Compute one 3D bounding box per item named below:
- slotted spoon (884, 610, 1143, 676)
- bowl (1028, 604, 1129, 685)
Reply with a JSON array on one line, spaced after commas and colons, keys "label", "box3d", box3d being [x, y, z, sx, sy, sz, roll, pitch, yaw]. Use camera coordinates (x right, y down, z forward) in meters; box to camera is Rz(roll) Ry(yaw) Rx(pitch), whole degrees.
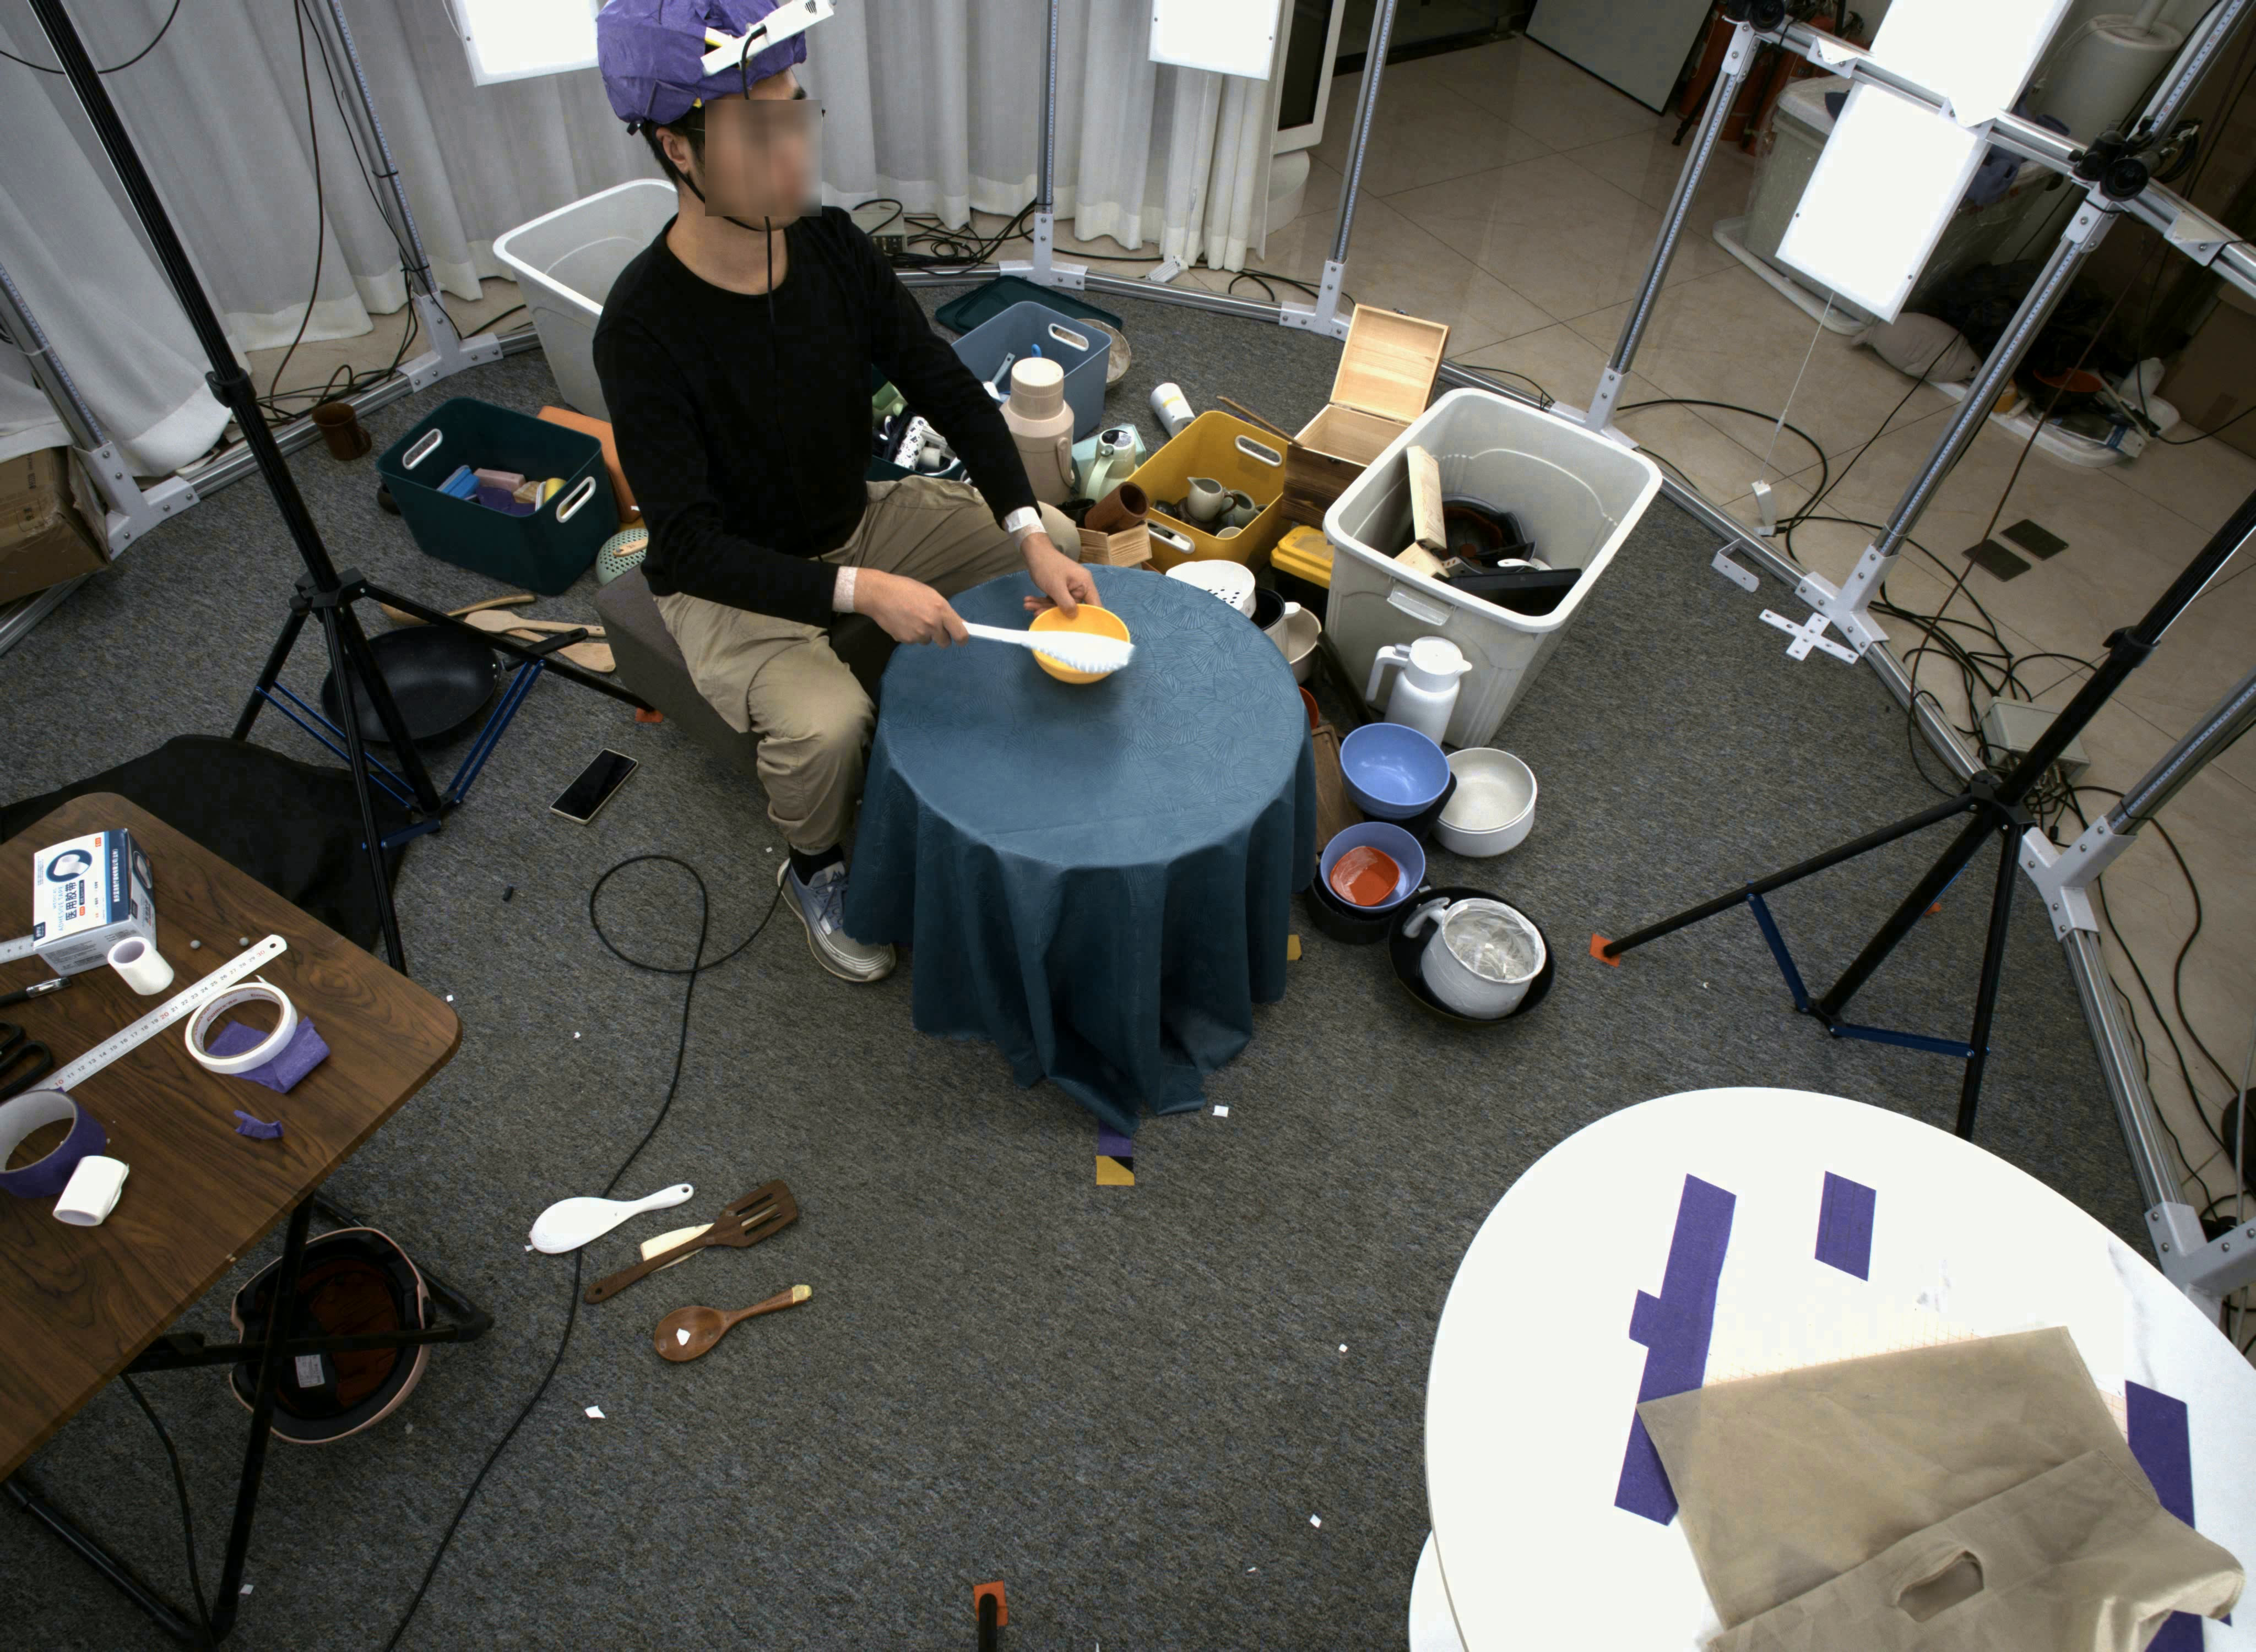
[{"label": "slotted spoon", "box3d": [-0.155, -0.254, 1.735, 0.350, 0.135, 0.046, 14, 88, 2]}, {"label": "bowl", "box3d": [-0.073, -0.249, 1.845, 0.145, 0.059, 0.149, 3, 49, -4]}]
